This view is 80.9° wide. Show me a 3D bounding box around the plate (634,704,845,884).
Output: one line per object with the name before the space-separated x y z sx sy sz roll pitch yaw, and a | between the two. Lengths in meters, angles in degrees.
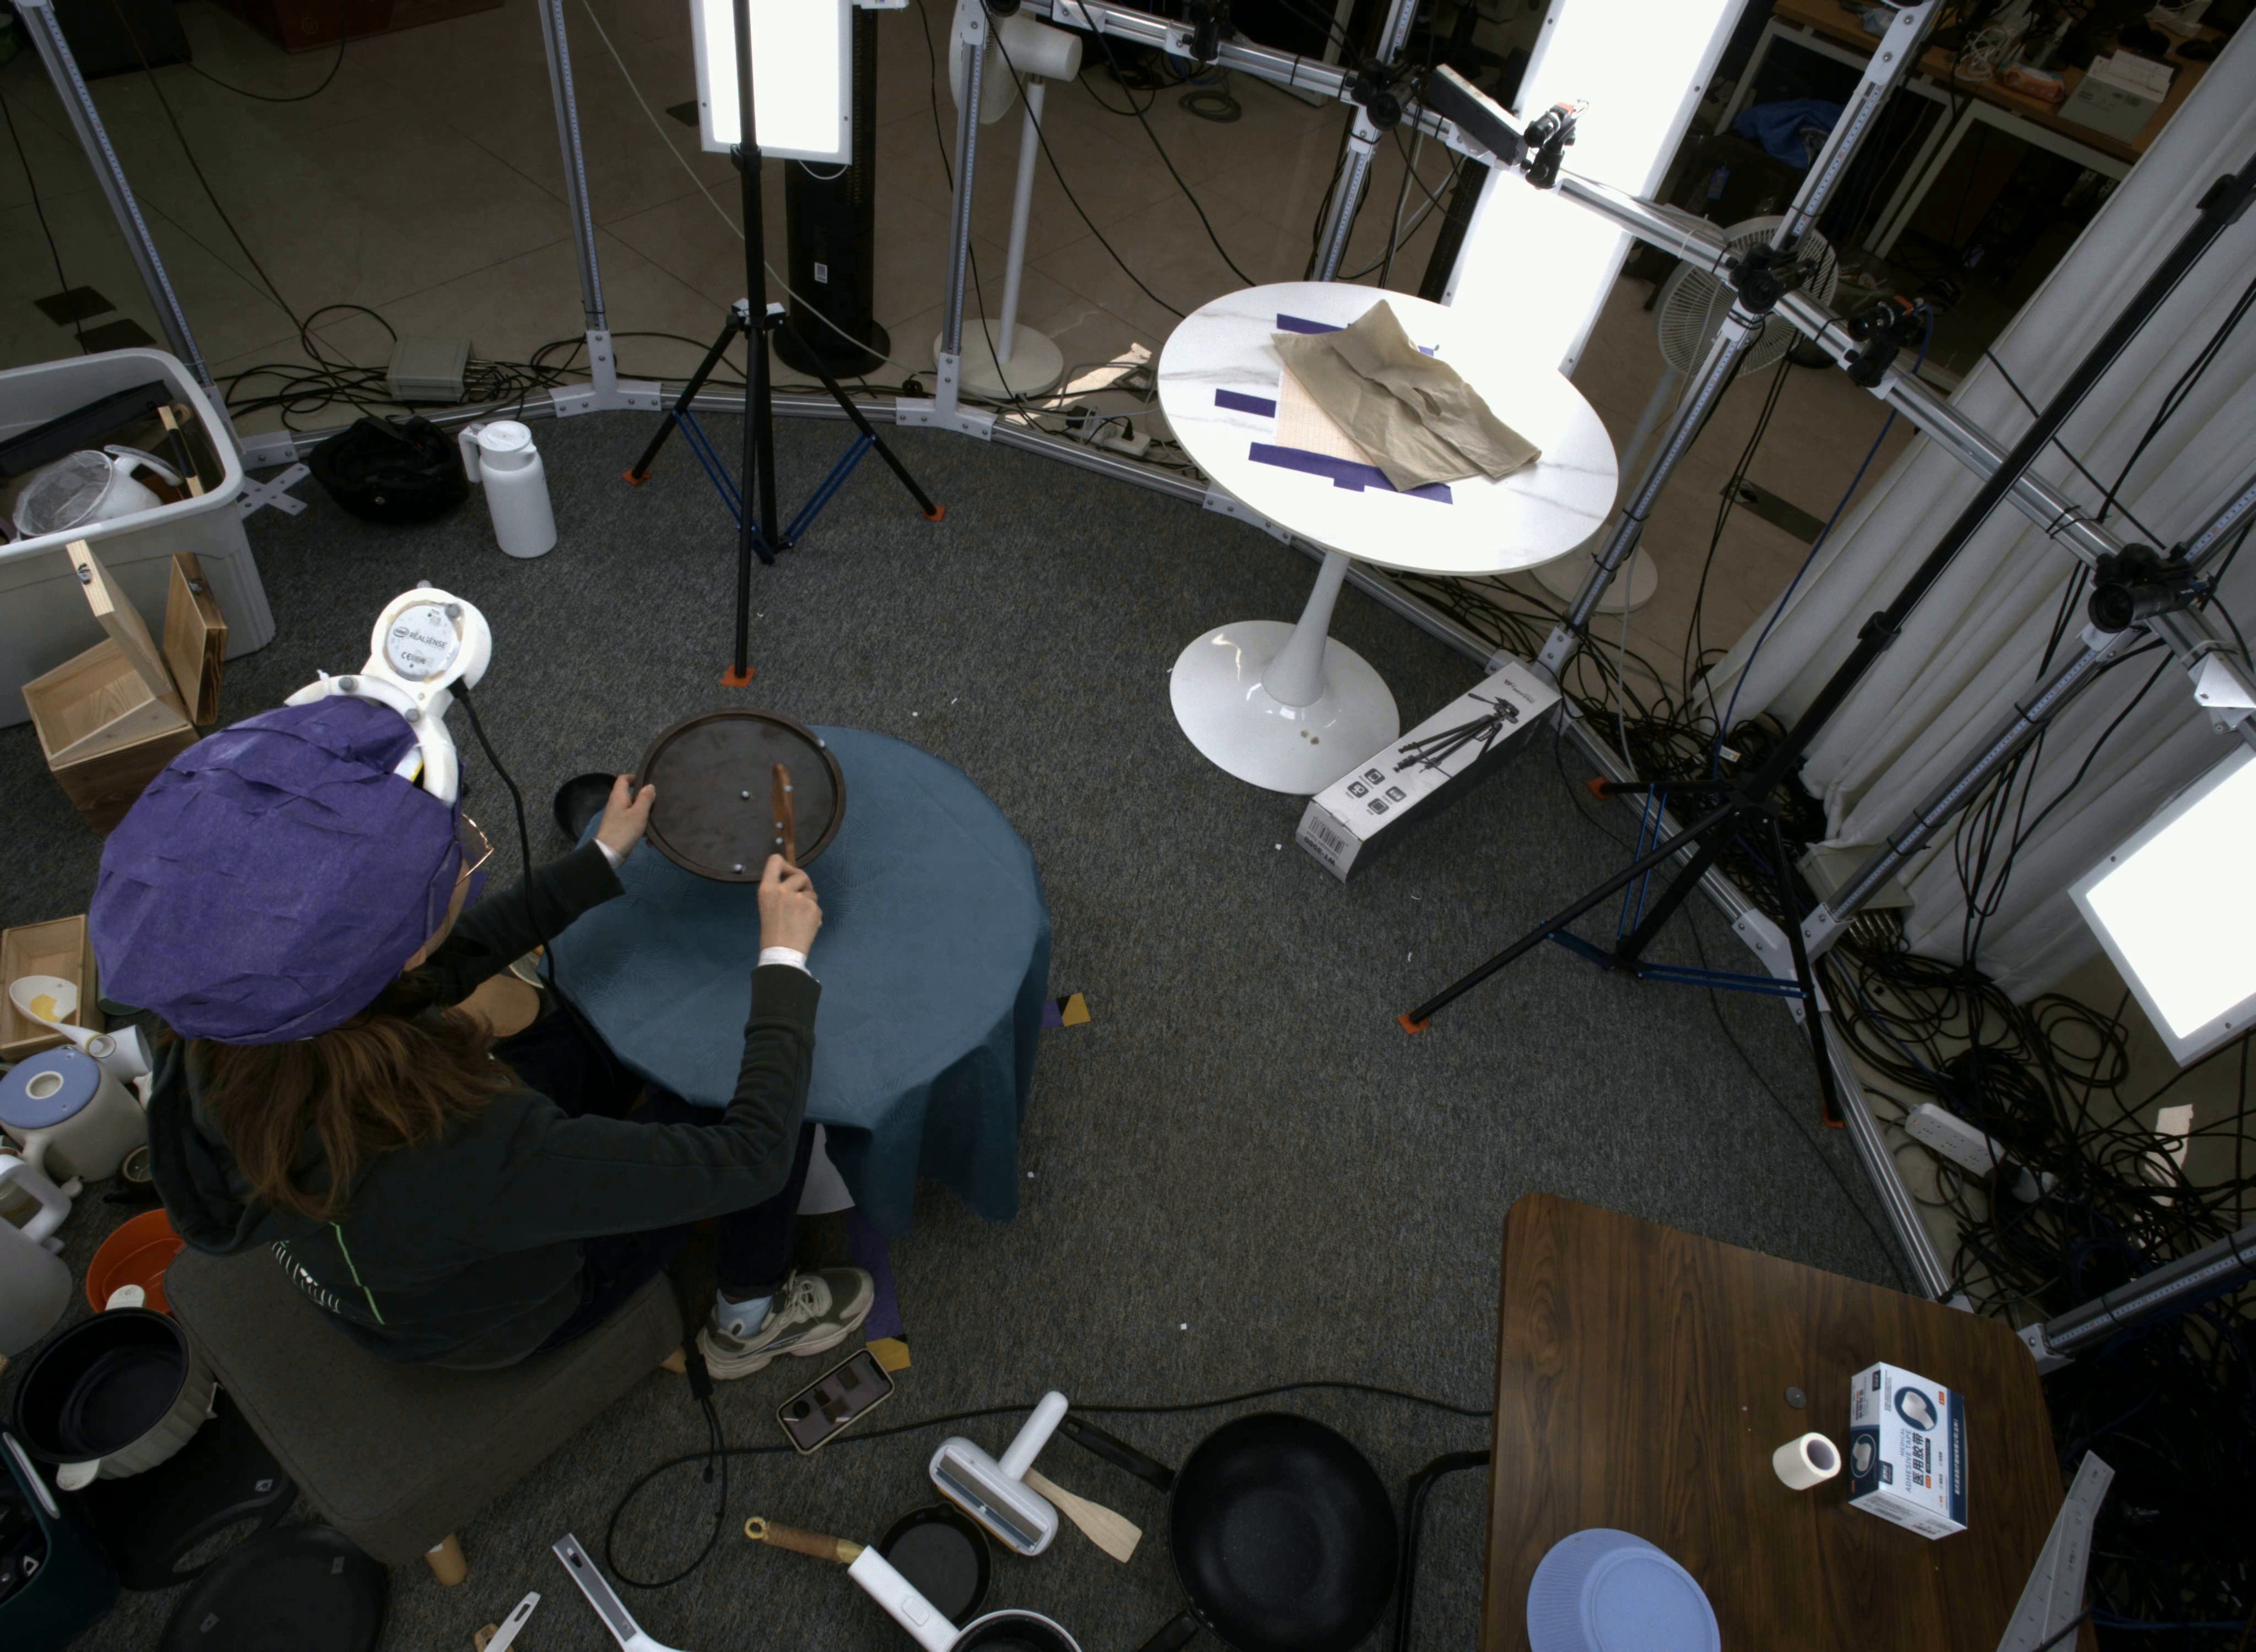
plate | -0.475 -0.041 1.581 0.256 0.029 0.251 11 57 -15

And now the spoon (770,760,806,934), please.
spoon | -0.385 0.021 1.467 0.017 0.076 0.212 -4 63 -23
